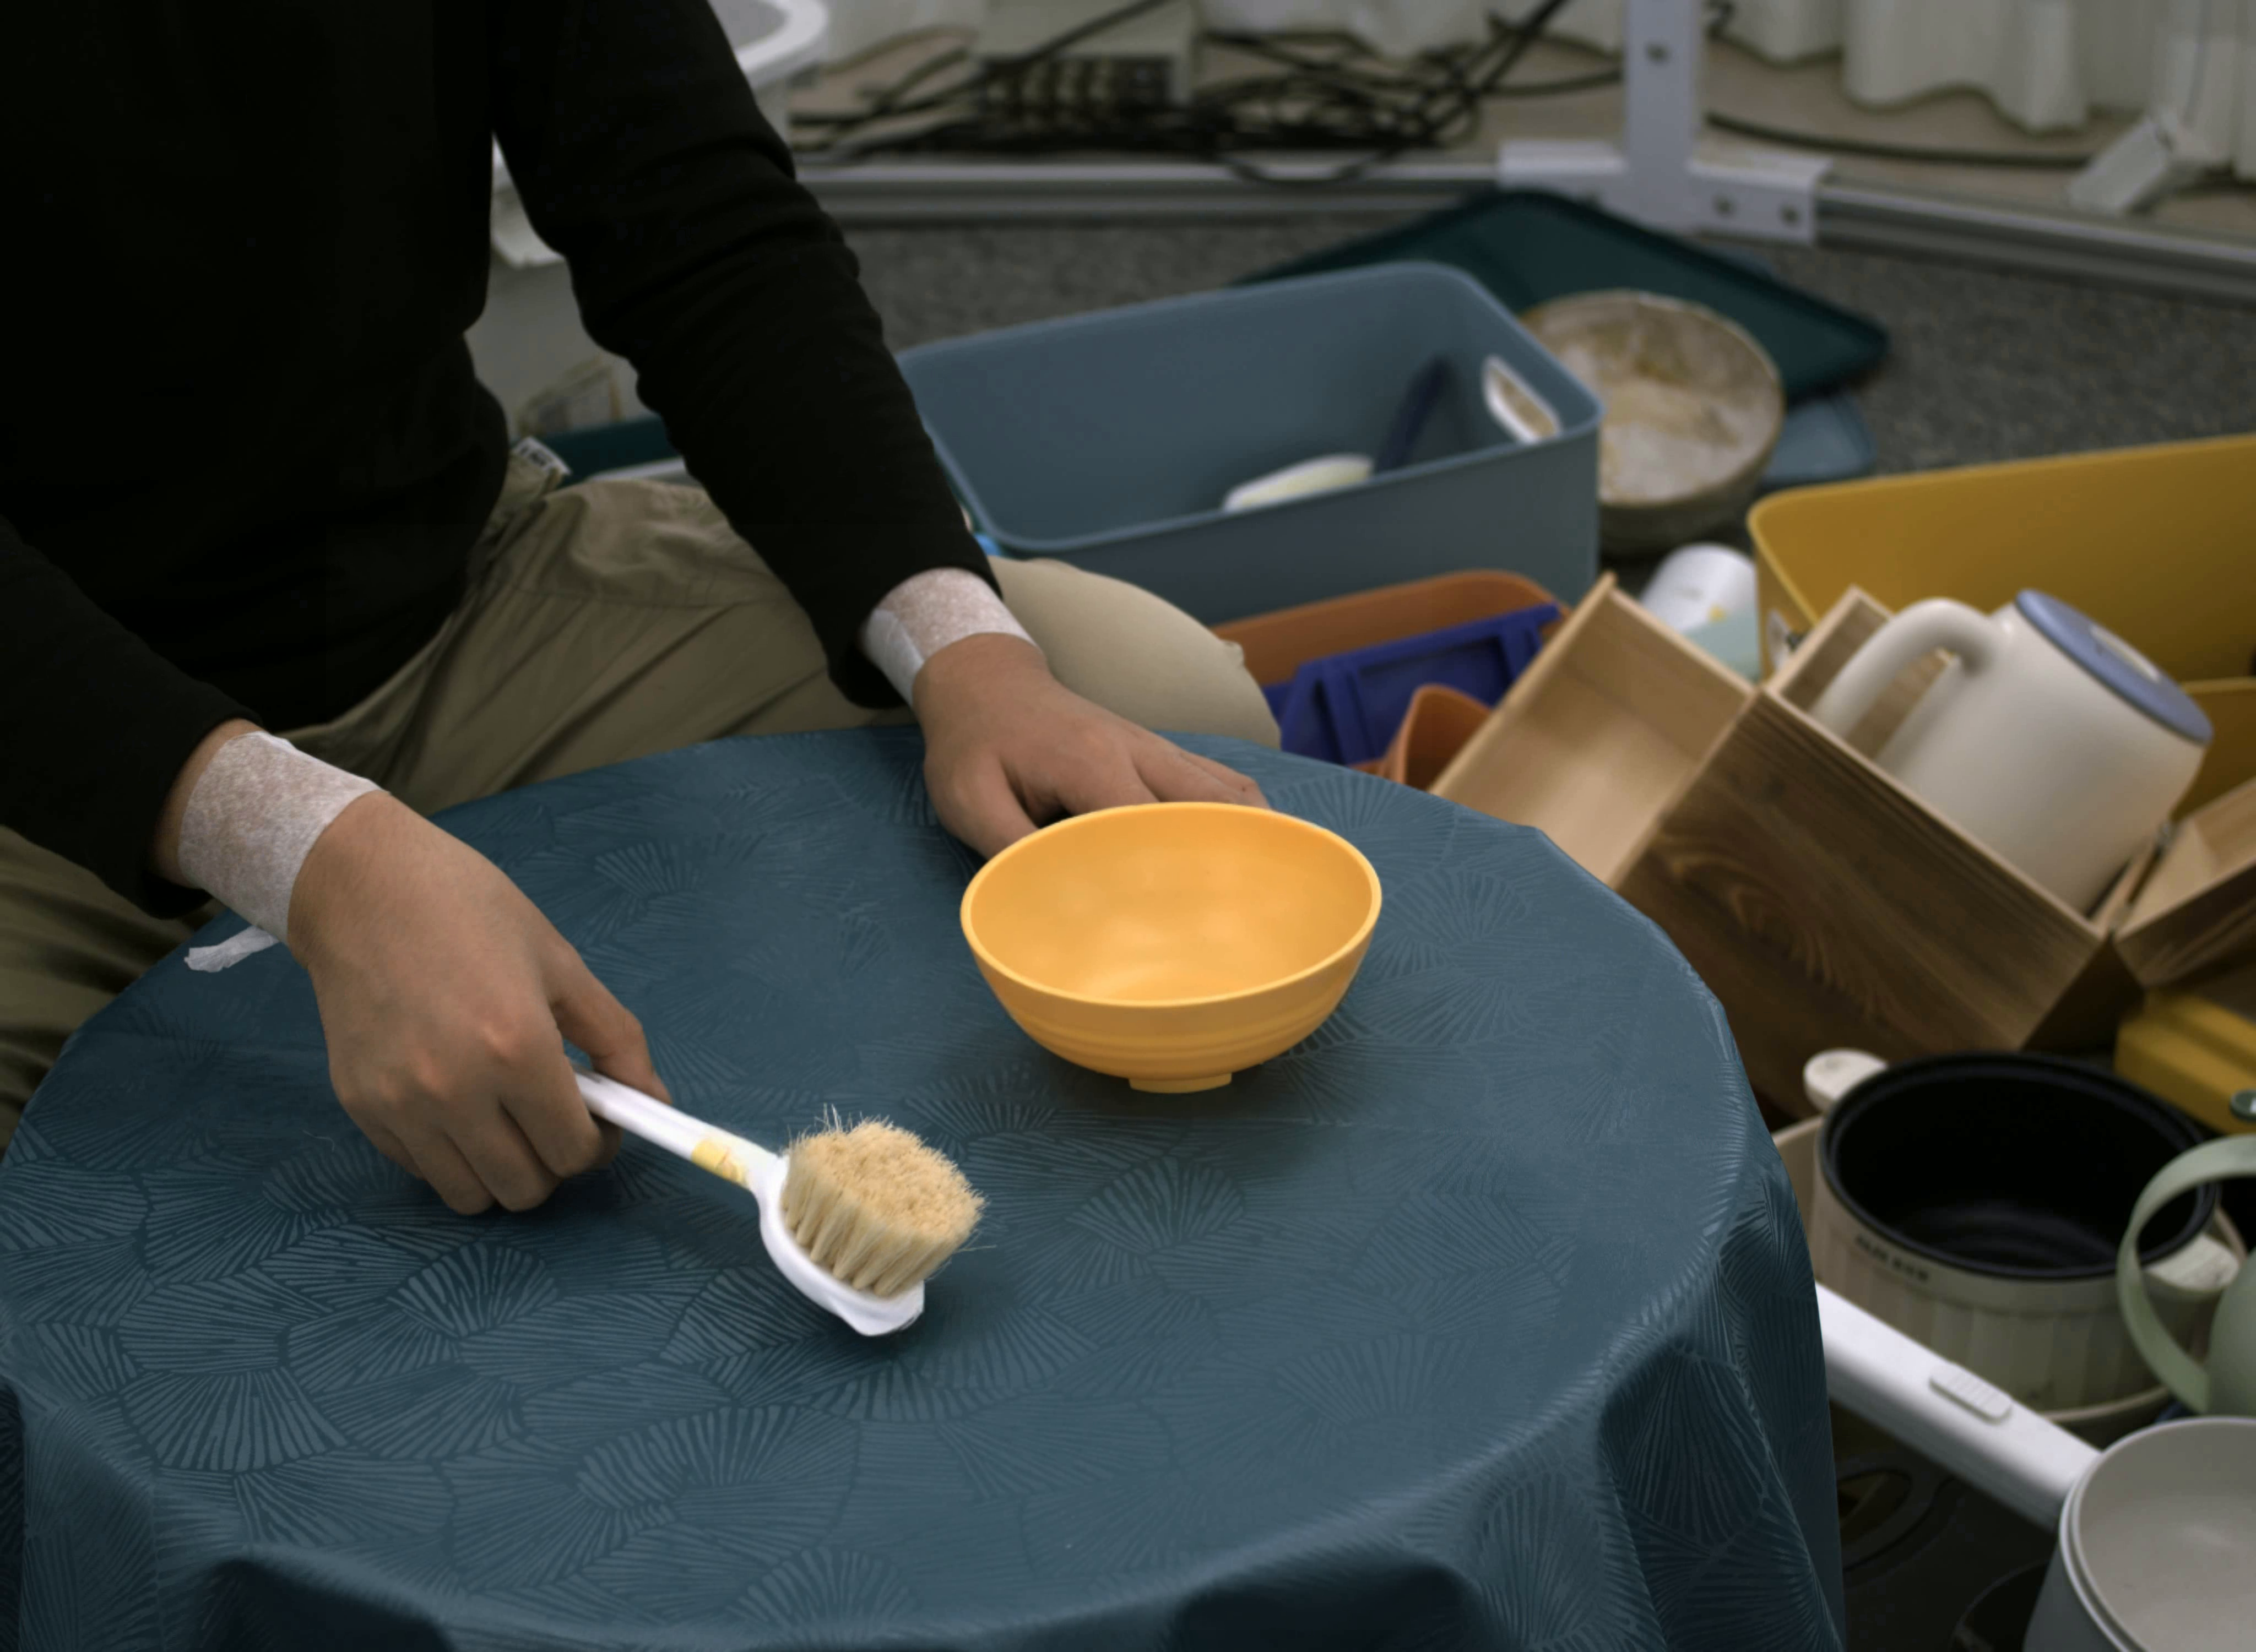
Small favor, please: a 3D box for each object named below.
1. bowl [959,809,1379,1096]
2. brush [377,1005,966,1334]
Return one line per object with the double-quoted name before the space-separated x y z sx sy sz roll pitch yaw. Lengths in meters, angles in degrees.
"bowl" 0.015 0.052 1.933 0.144 0.059 0.147 -2 26 1
"brush" -0.155 0.090 1.849 0.266 0.056 0.068 27 6 40
